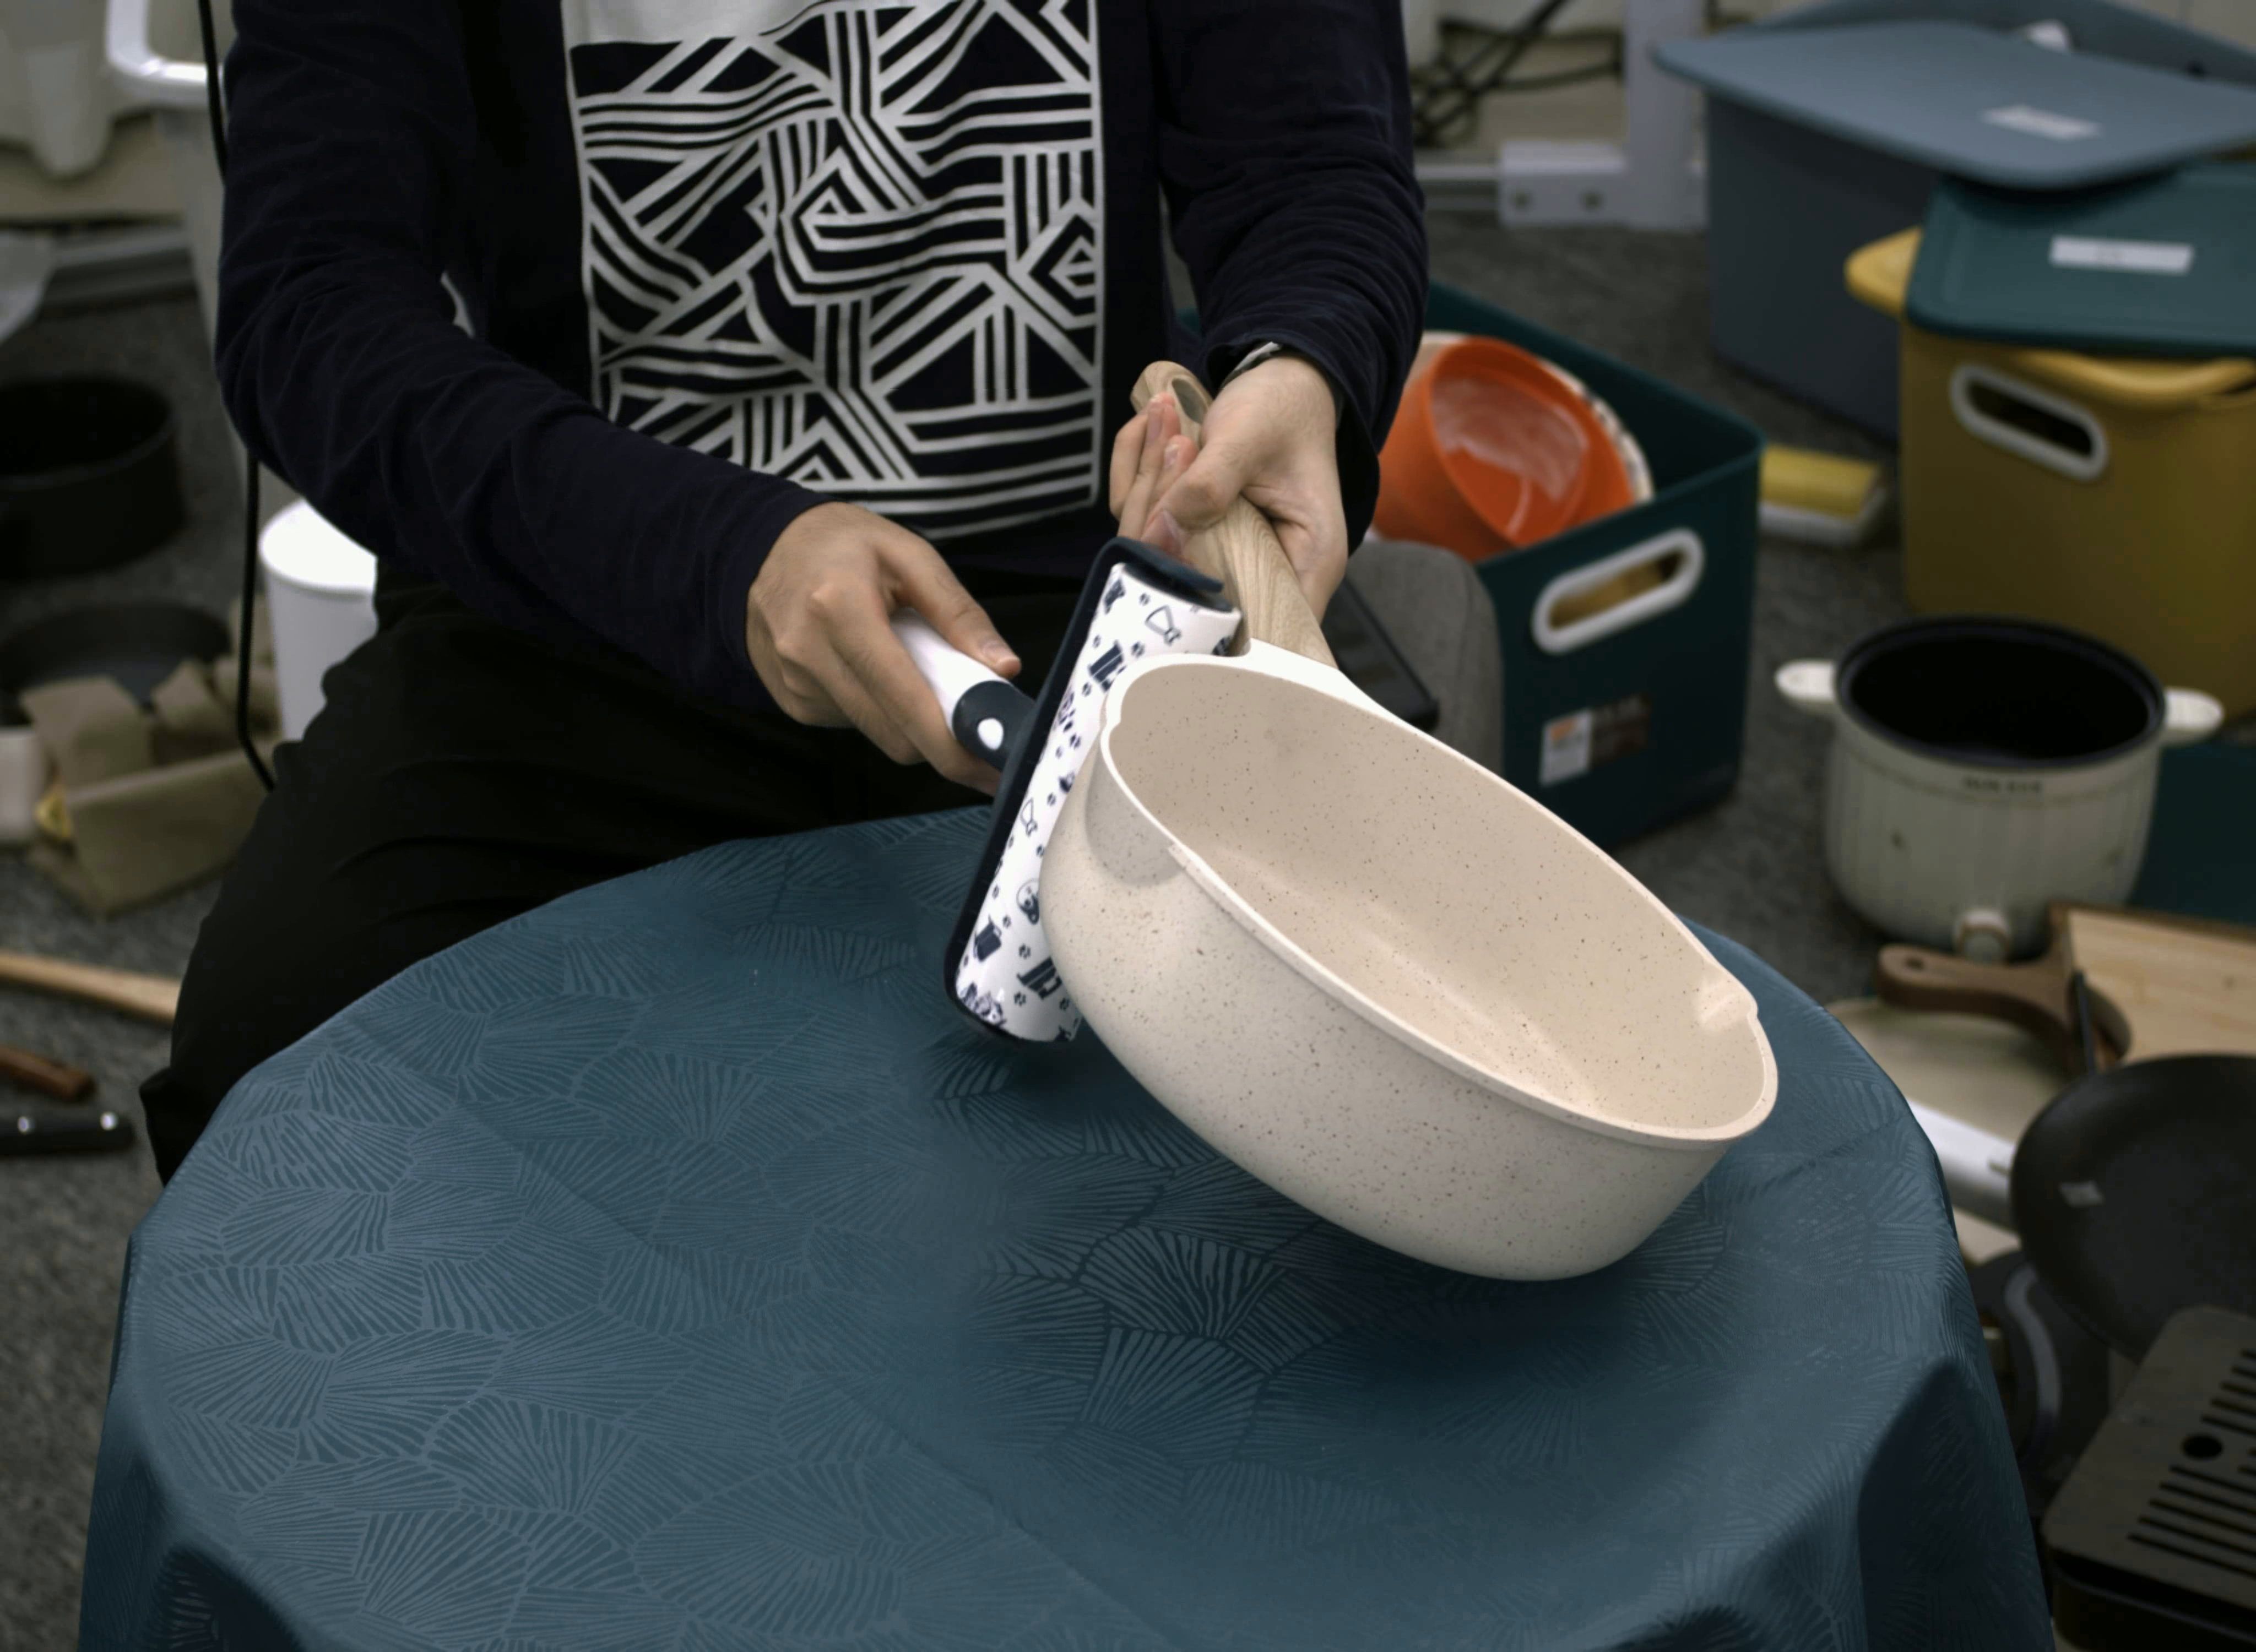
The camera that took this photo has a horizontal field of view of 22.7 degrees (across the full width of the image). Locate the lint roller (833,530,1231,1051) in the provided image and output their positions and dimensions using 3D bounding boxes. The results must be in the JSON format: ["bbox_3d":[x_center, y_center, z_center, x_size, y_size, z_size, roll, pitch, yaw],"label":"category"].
[{"bbox_3d":[-0.057,-0.041,1.996,0.050,0.176,0.248,16,10,-31],"label":"lint roller"}]

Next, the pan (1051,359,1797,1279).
[{"bbox_3d":[0.060,-0.006,1.877,0.263,0.101,0.440,17,26,-31],"label":"pan"}]
